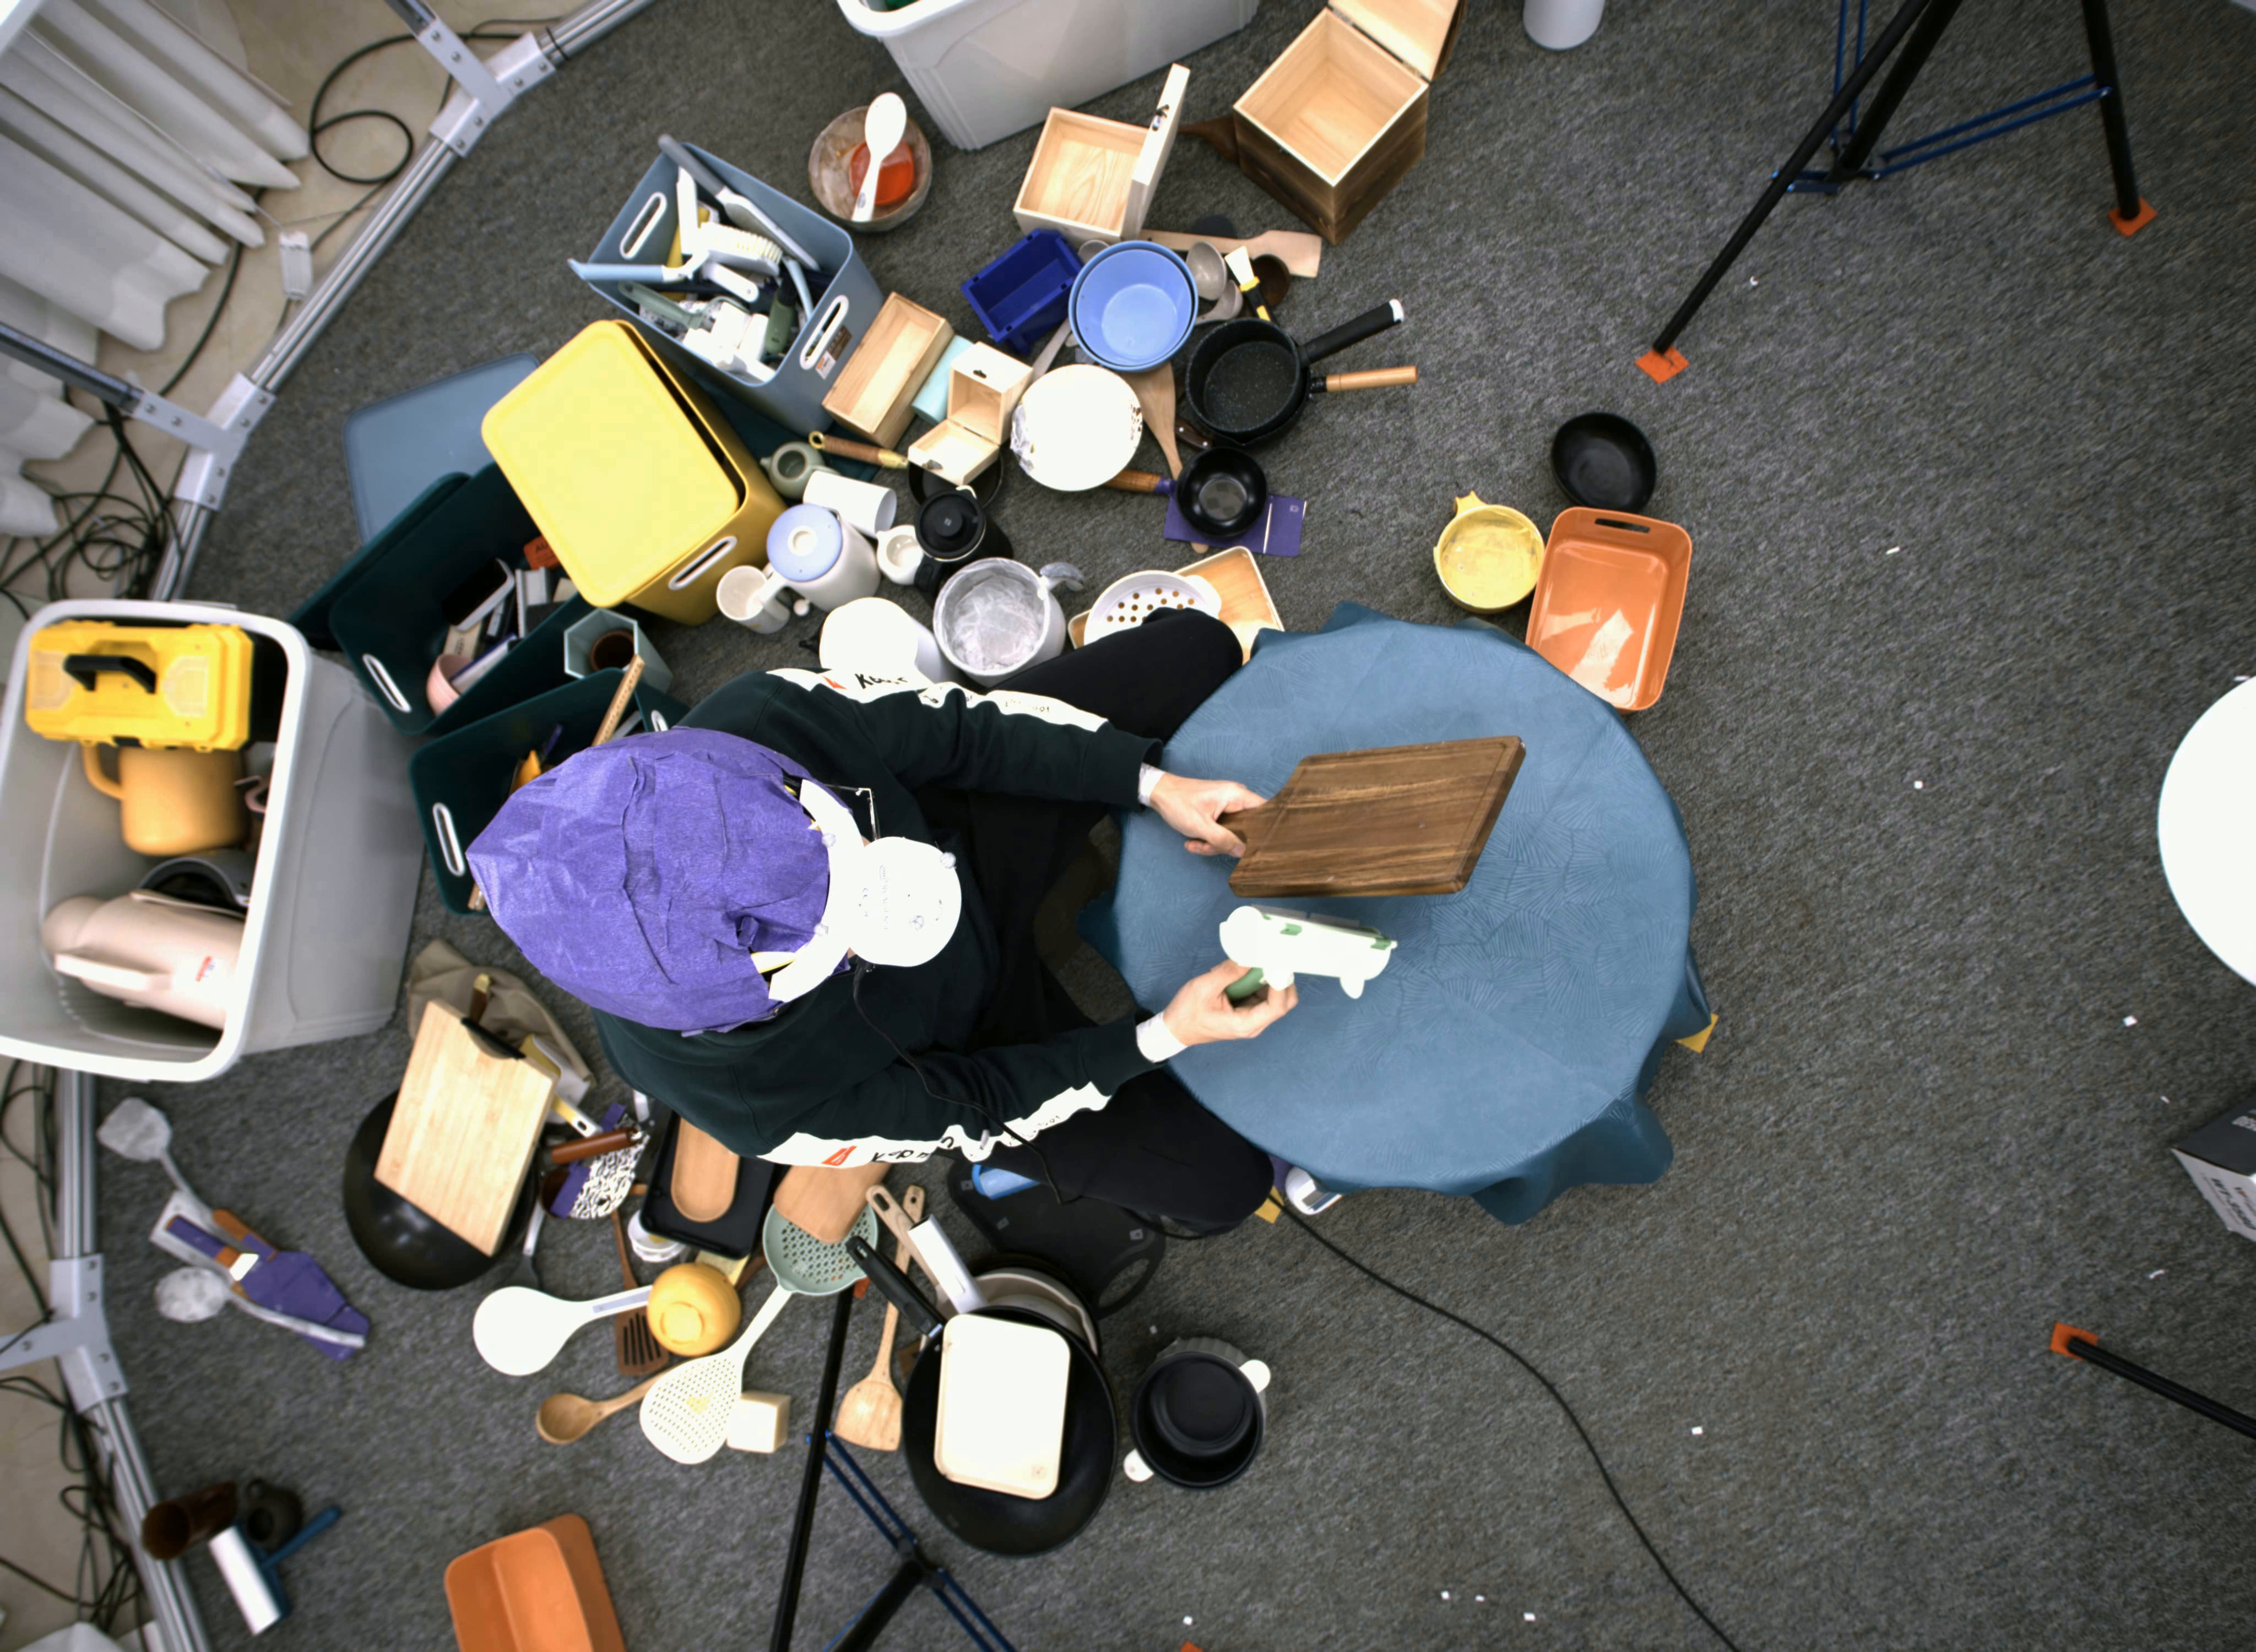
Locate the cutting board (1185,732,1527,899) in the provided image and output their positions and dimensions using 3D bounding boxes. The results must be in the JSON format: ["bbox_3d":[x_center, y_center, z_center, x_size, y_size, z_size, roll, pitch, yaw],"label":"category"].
[{"bbox_3d":[0.198,-0.007,1.342,0.355,0.023,0.196,-5,41,42],"label":"cutting board"}]

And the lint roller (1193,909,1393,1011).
[{"bbox_3d":[0.136,0.150,1.333,0.187,0.198,0.080,-43,55,32],"label":"lint roller"}]
